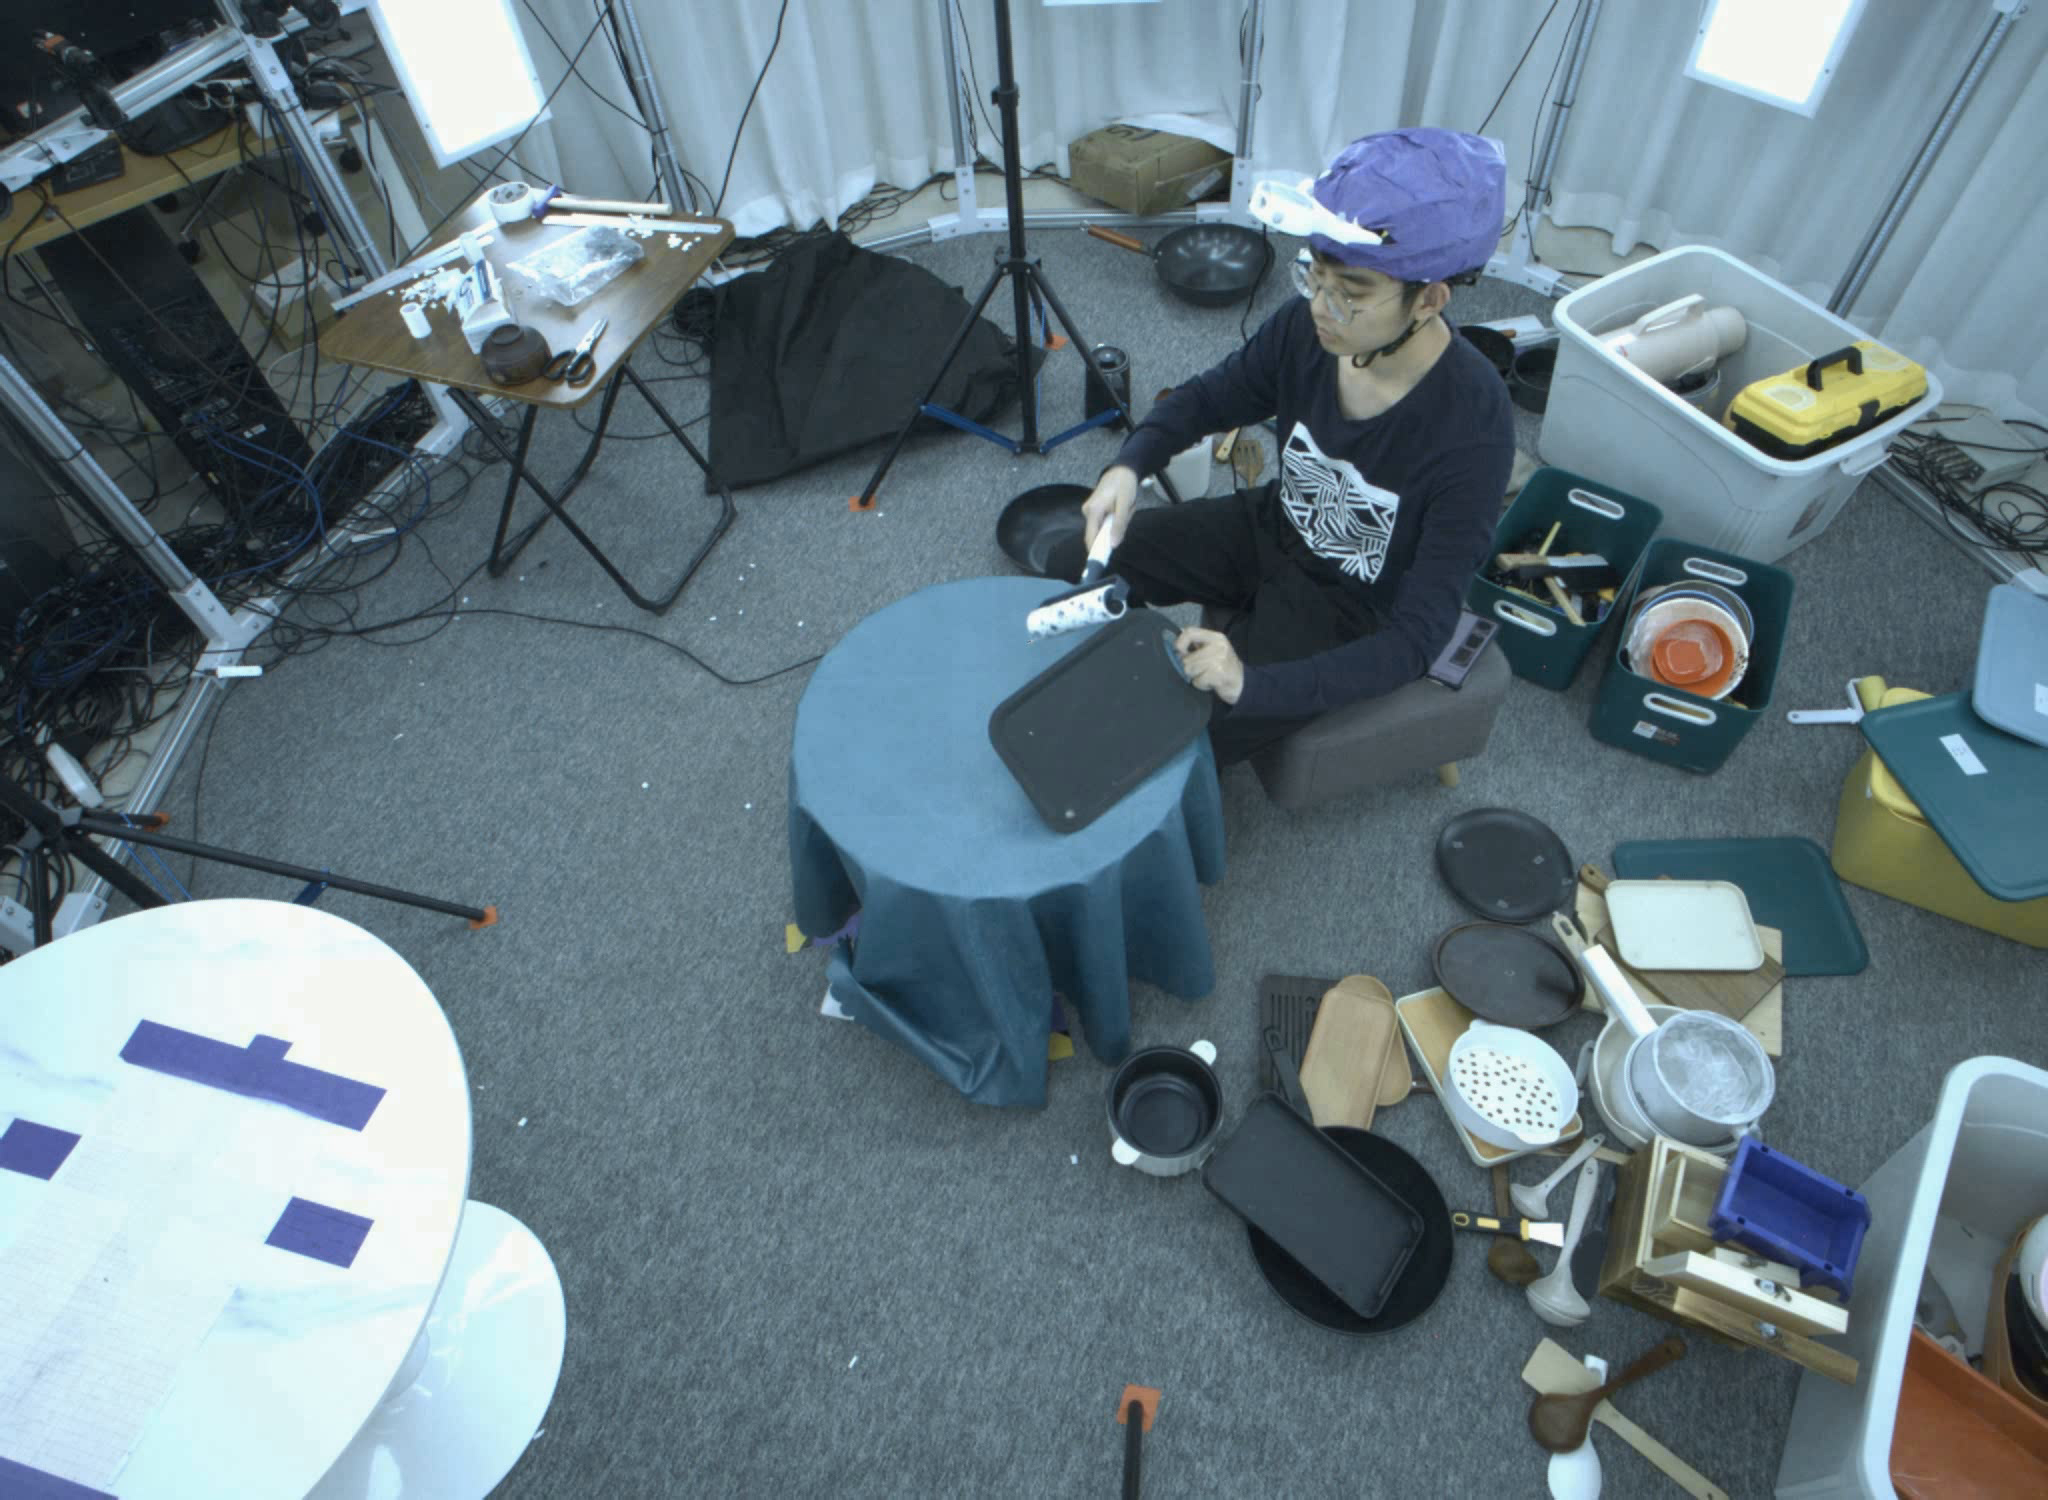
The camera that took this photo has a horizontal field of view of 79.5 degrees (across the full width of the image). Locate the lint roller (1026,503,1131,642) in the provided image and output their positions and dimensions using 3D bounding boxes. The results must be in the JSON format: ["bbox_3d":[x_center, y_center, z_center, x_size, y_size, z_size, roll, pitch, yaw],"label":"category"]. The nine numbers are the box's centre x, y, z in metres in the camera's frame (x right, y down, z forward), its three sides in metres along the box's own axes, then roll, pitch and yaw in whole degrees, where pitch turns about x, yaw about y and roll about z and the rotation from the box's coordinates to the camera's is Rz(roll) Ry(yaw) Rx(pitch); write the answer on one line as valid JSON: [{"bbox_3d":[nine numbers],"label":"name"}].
[{"bbox_3d":[0.103,-0.275,1.803,0.173,0.051,0.246,-13,47,49],"label":"lint roller"}]

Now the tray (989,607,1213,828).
[{"bbox_3d":[0.118,-0.052,1.725,0.327,0.009,0.213,-36,103,-15],"label":"tray"}]
